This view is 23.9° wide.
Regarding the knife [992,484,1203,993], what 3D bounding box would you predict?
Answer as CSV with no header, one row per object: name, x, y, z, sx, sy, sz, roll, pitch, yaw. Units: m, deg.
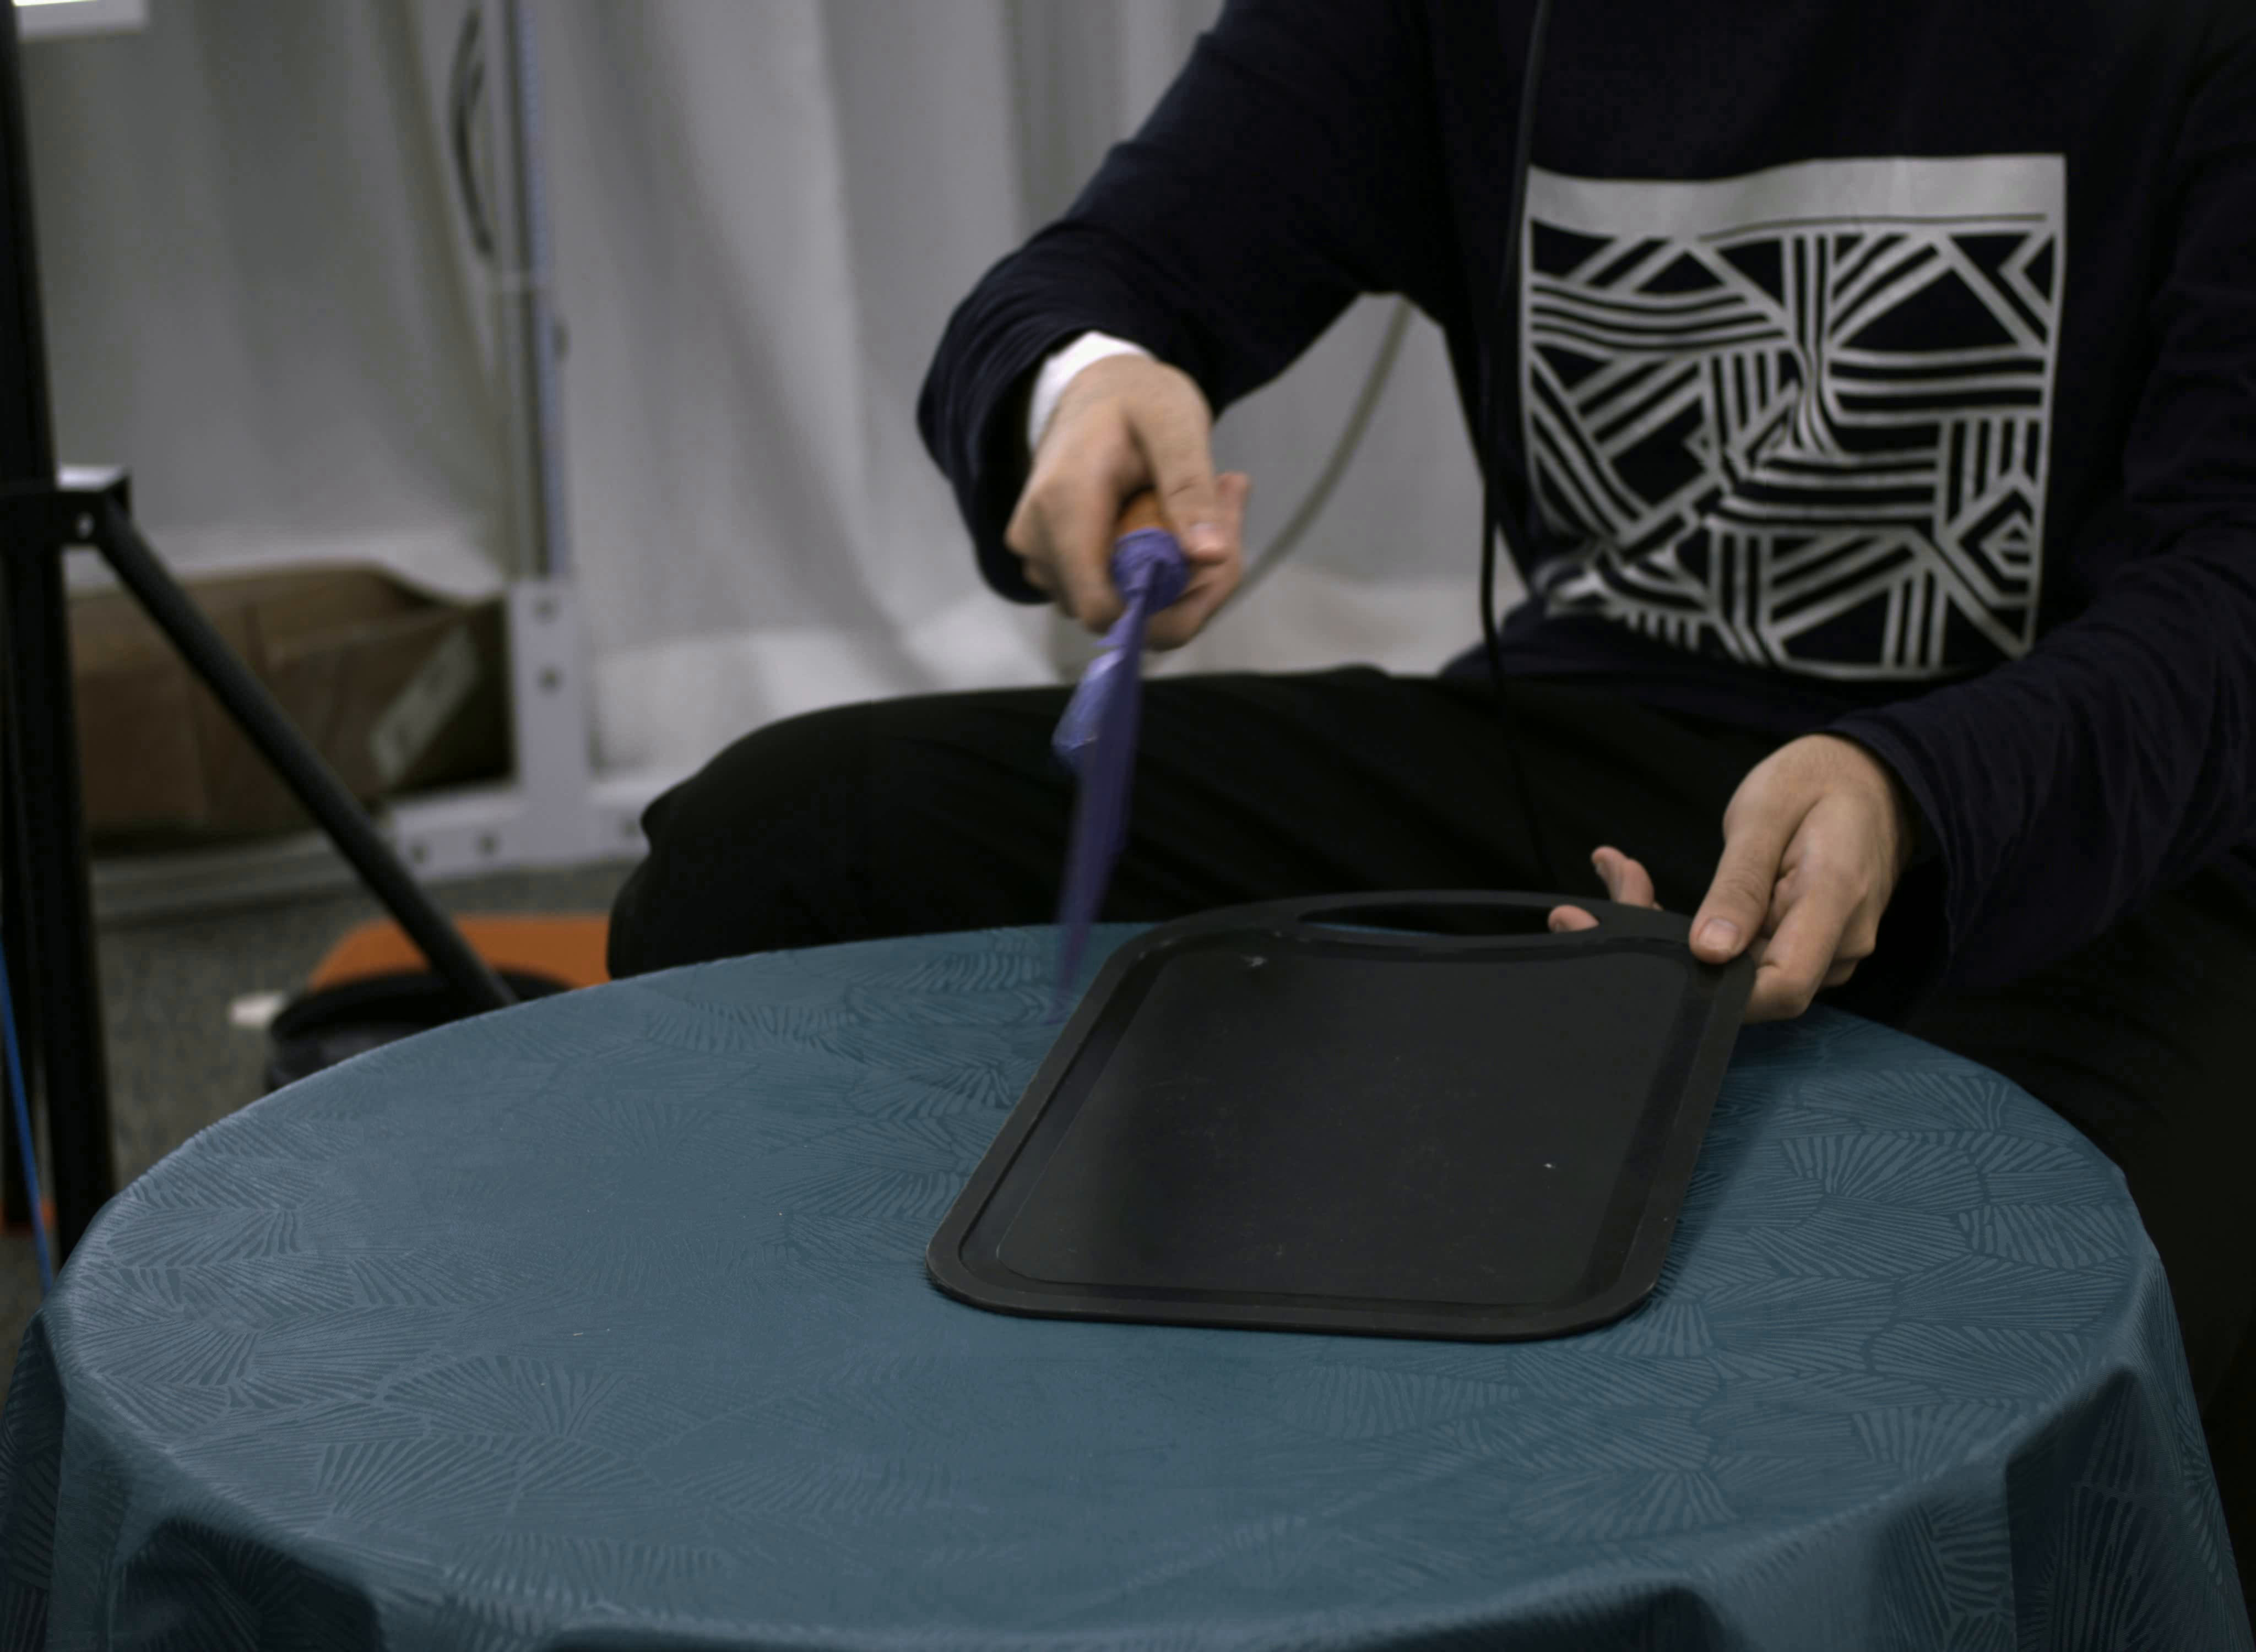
knife,-0.012,-0.030,1.651,0.032,0.104,0.314,11,17,4

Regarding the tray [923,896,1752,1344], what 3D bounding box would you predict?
tray,0.070,0.079,1.593,0.213,0.010,0.323,2,21,15
